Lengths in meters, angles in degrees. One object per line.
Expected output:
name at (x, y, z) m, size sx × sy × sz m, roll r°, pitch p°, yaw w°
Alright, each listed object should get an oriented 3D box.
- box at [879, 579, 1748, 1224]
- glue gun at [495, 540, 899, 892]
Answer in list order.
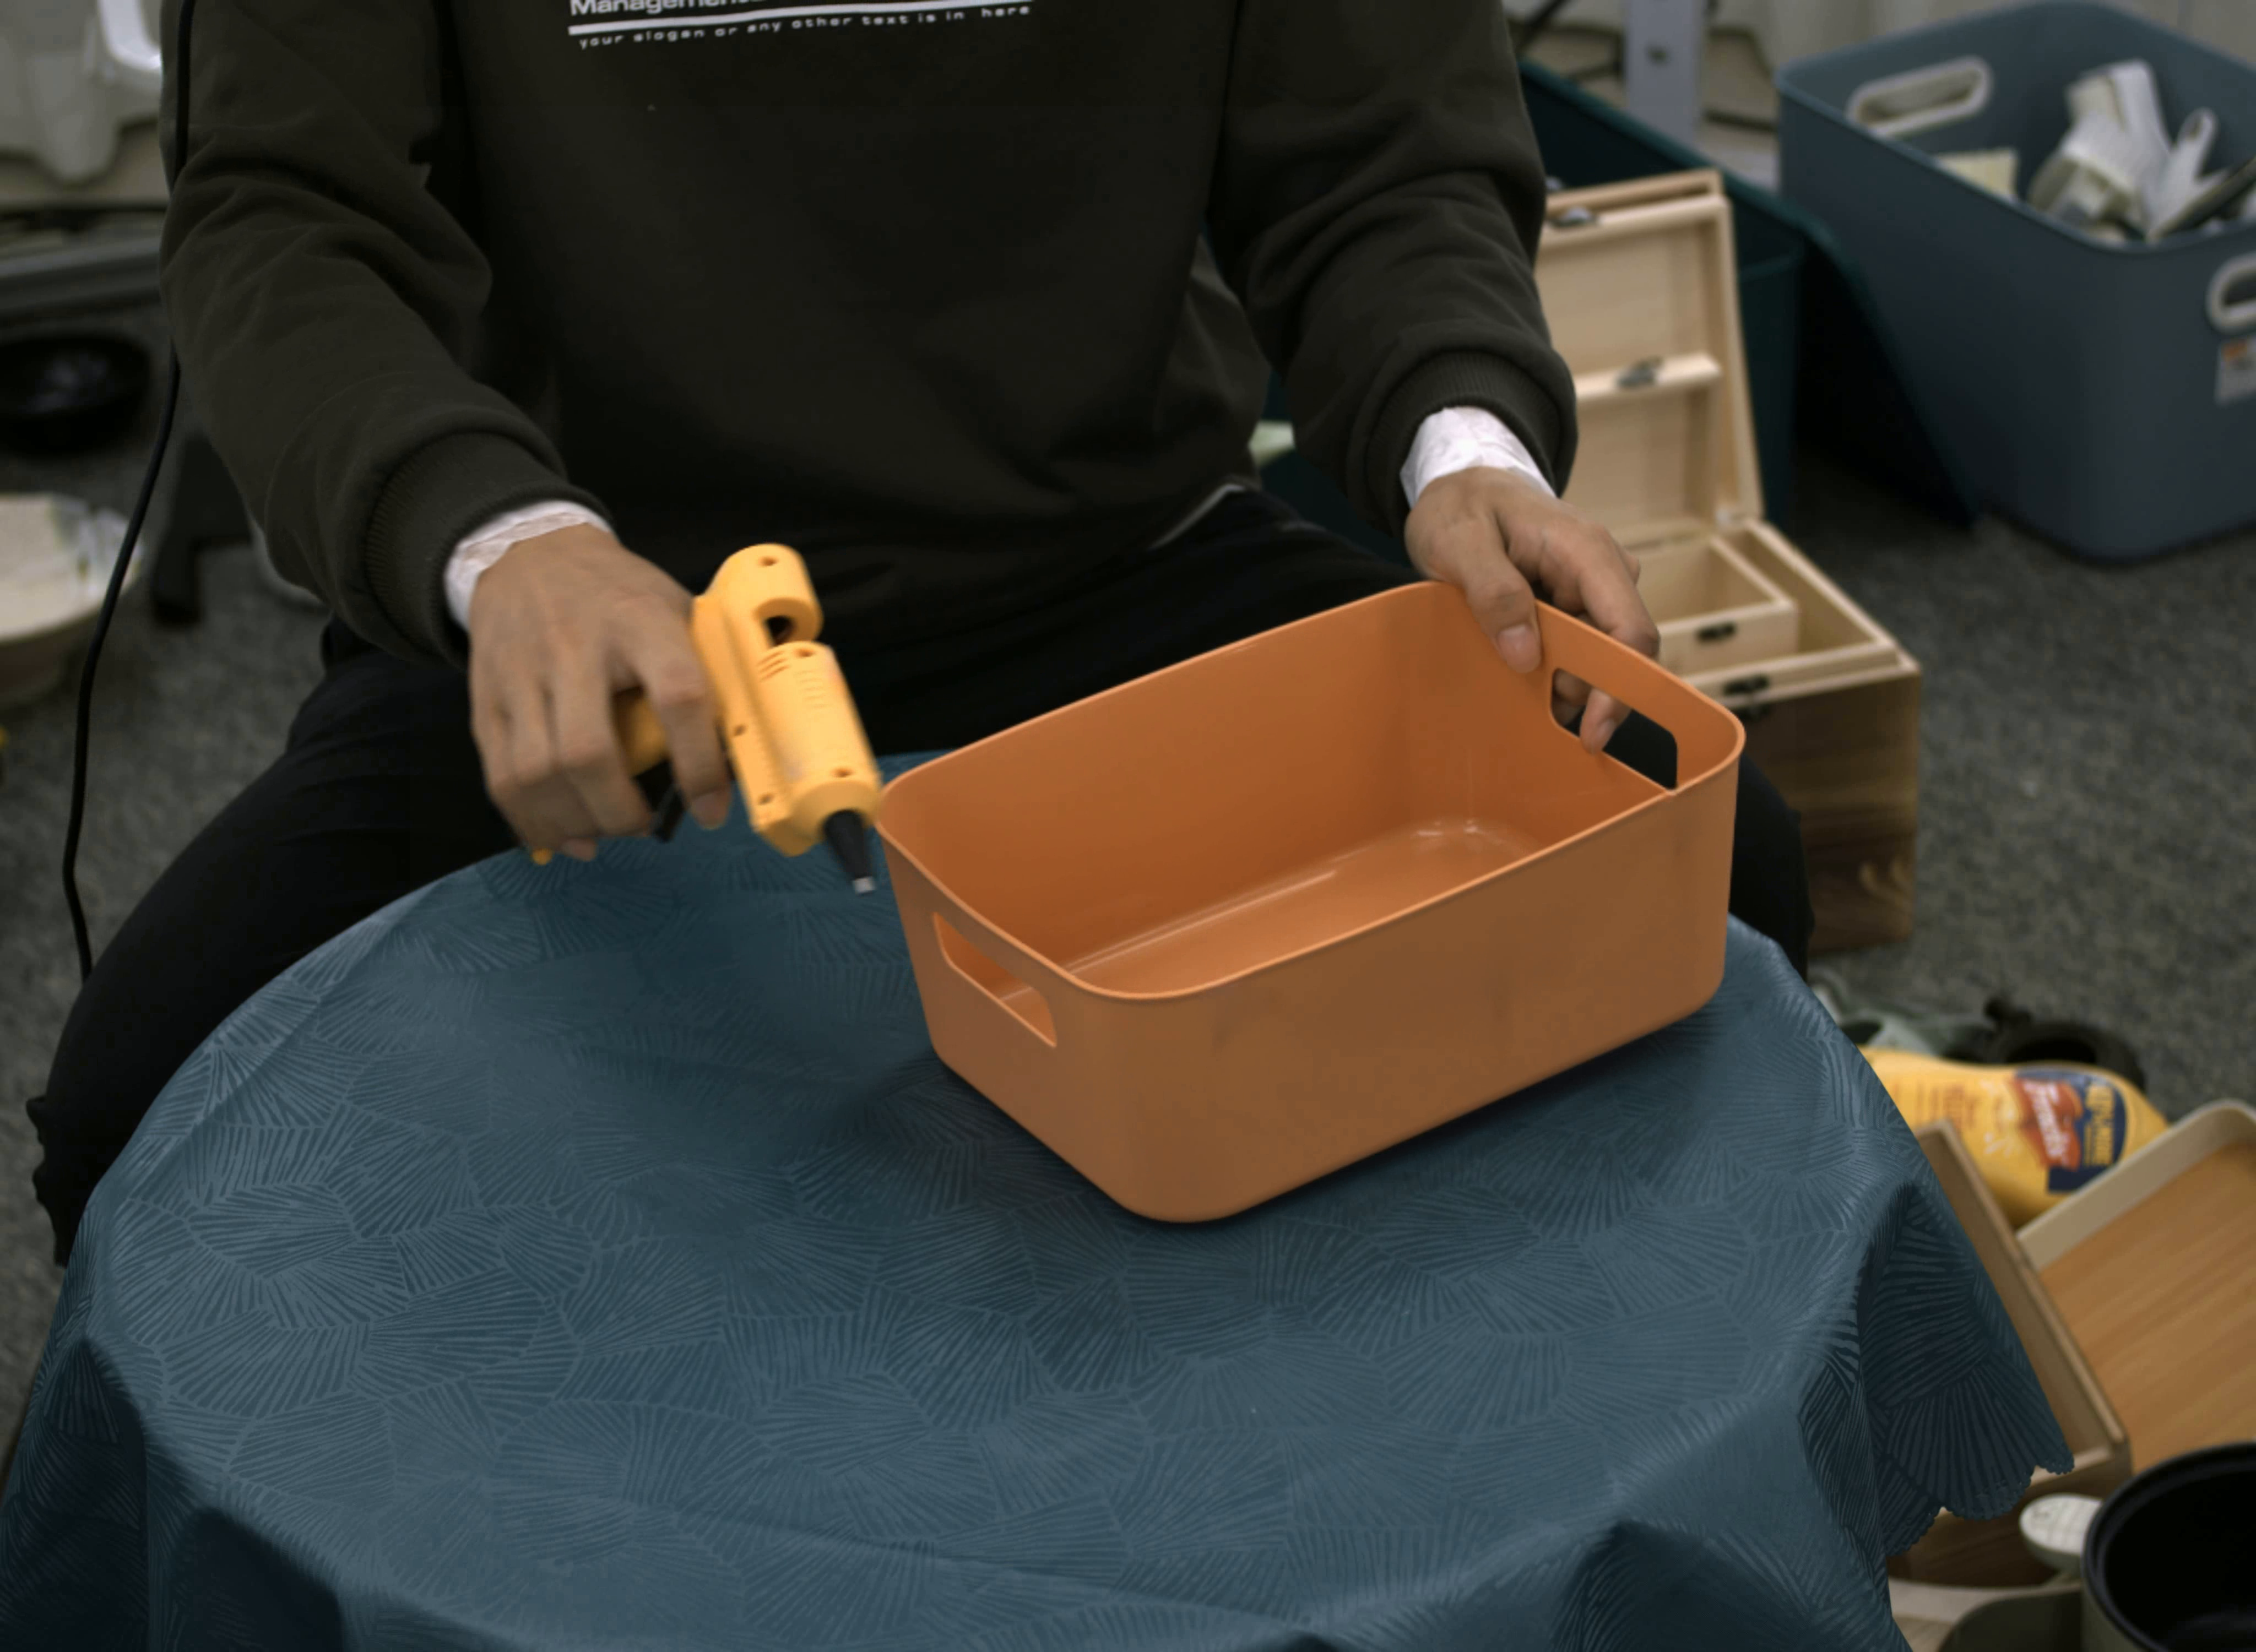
box at (0.066, 0.025, 1.929) m, size 0.275 × 0.101 × 0.200 m, roll -22°, pitch 31°, yaw -26°
glue gun at (-0.133, -0.006, 1.819) m, size 0.132 × 0.031 × 0.153 m, roll -37°, pitch 46°, yaw 9°
